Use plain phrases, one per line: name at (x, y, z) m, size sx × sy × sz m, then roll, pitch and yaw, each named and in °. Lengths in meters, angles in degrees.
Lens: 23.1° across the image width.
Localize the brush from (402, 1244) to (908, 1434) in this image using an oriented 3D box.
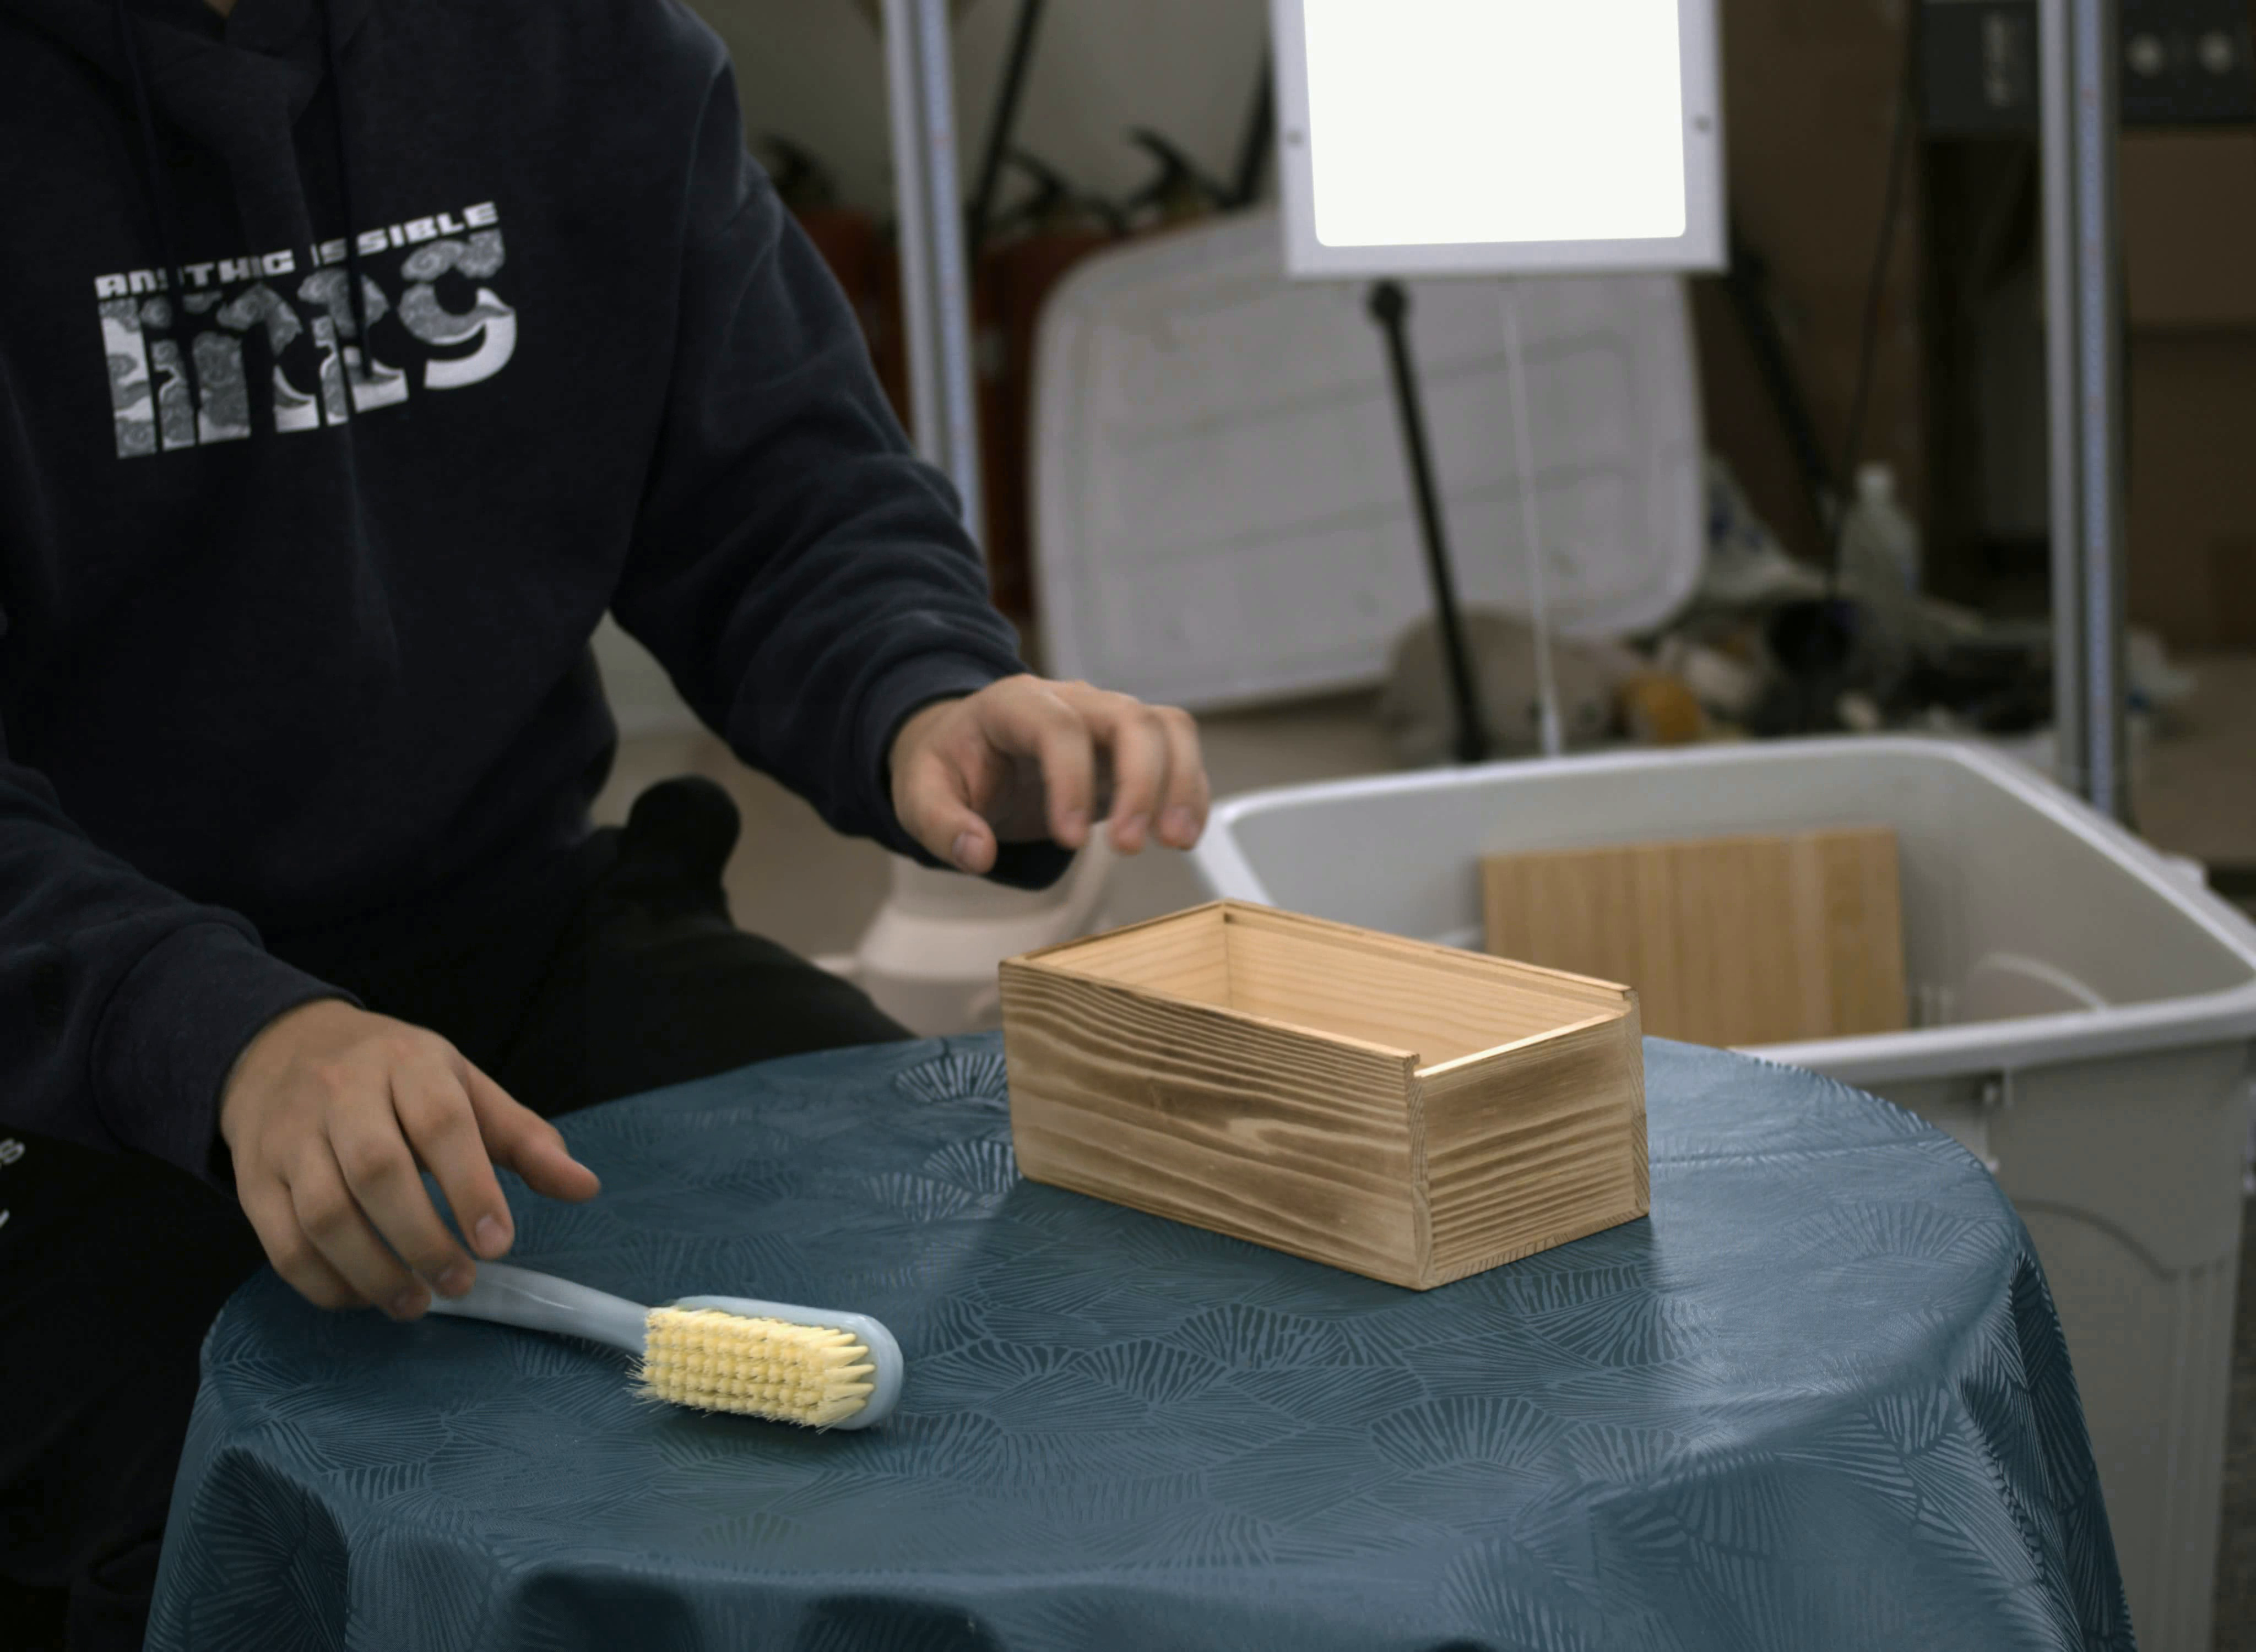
brush at (-0.162, 0.158, 1.746) m, size 0.048 × 0.038 × 0.234 m, roll -6°, pitch 11°, yaw -43°

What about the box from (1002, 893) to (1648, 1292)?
box at (0.065, 0.087, 1.868) m, size 0.105 × 0.080 × 0.216 m, roll -15°, pitch 17°, yaw -37°
